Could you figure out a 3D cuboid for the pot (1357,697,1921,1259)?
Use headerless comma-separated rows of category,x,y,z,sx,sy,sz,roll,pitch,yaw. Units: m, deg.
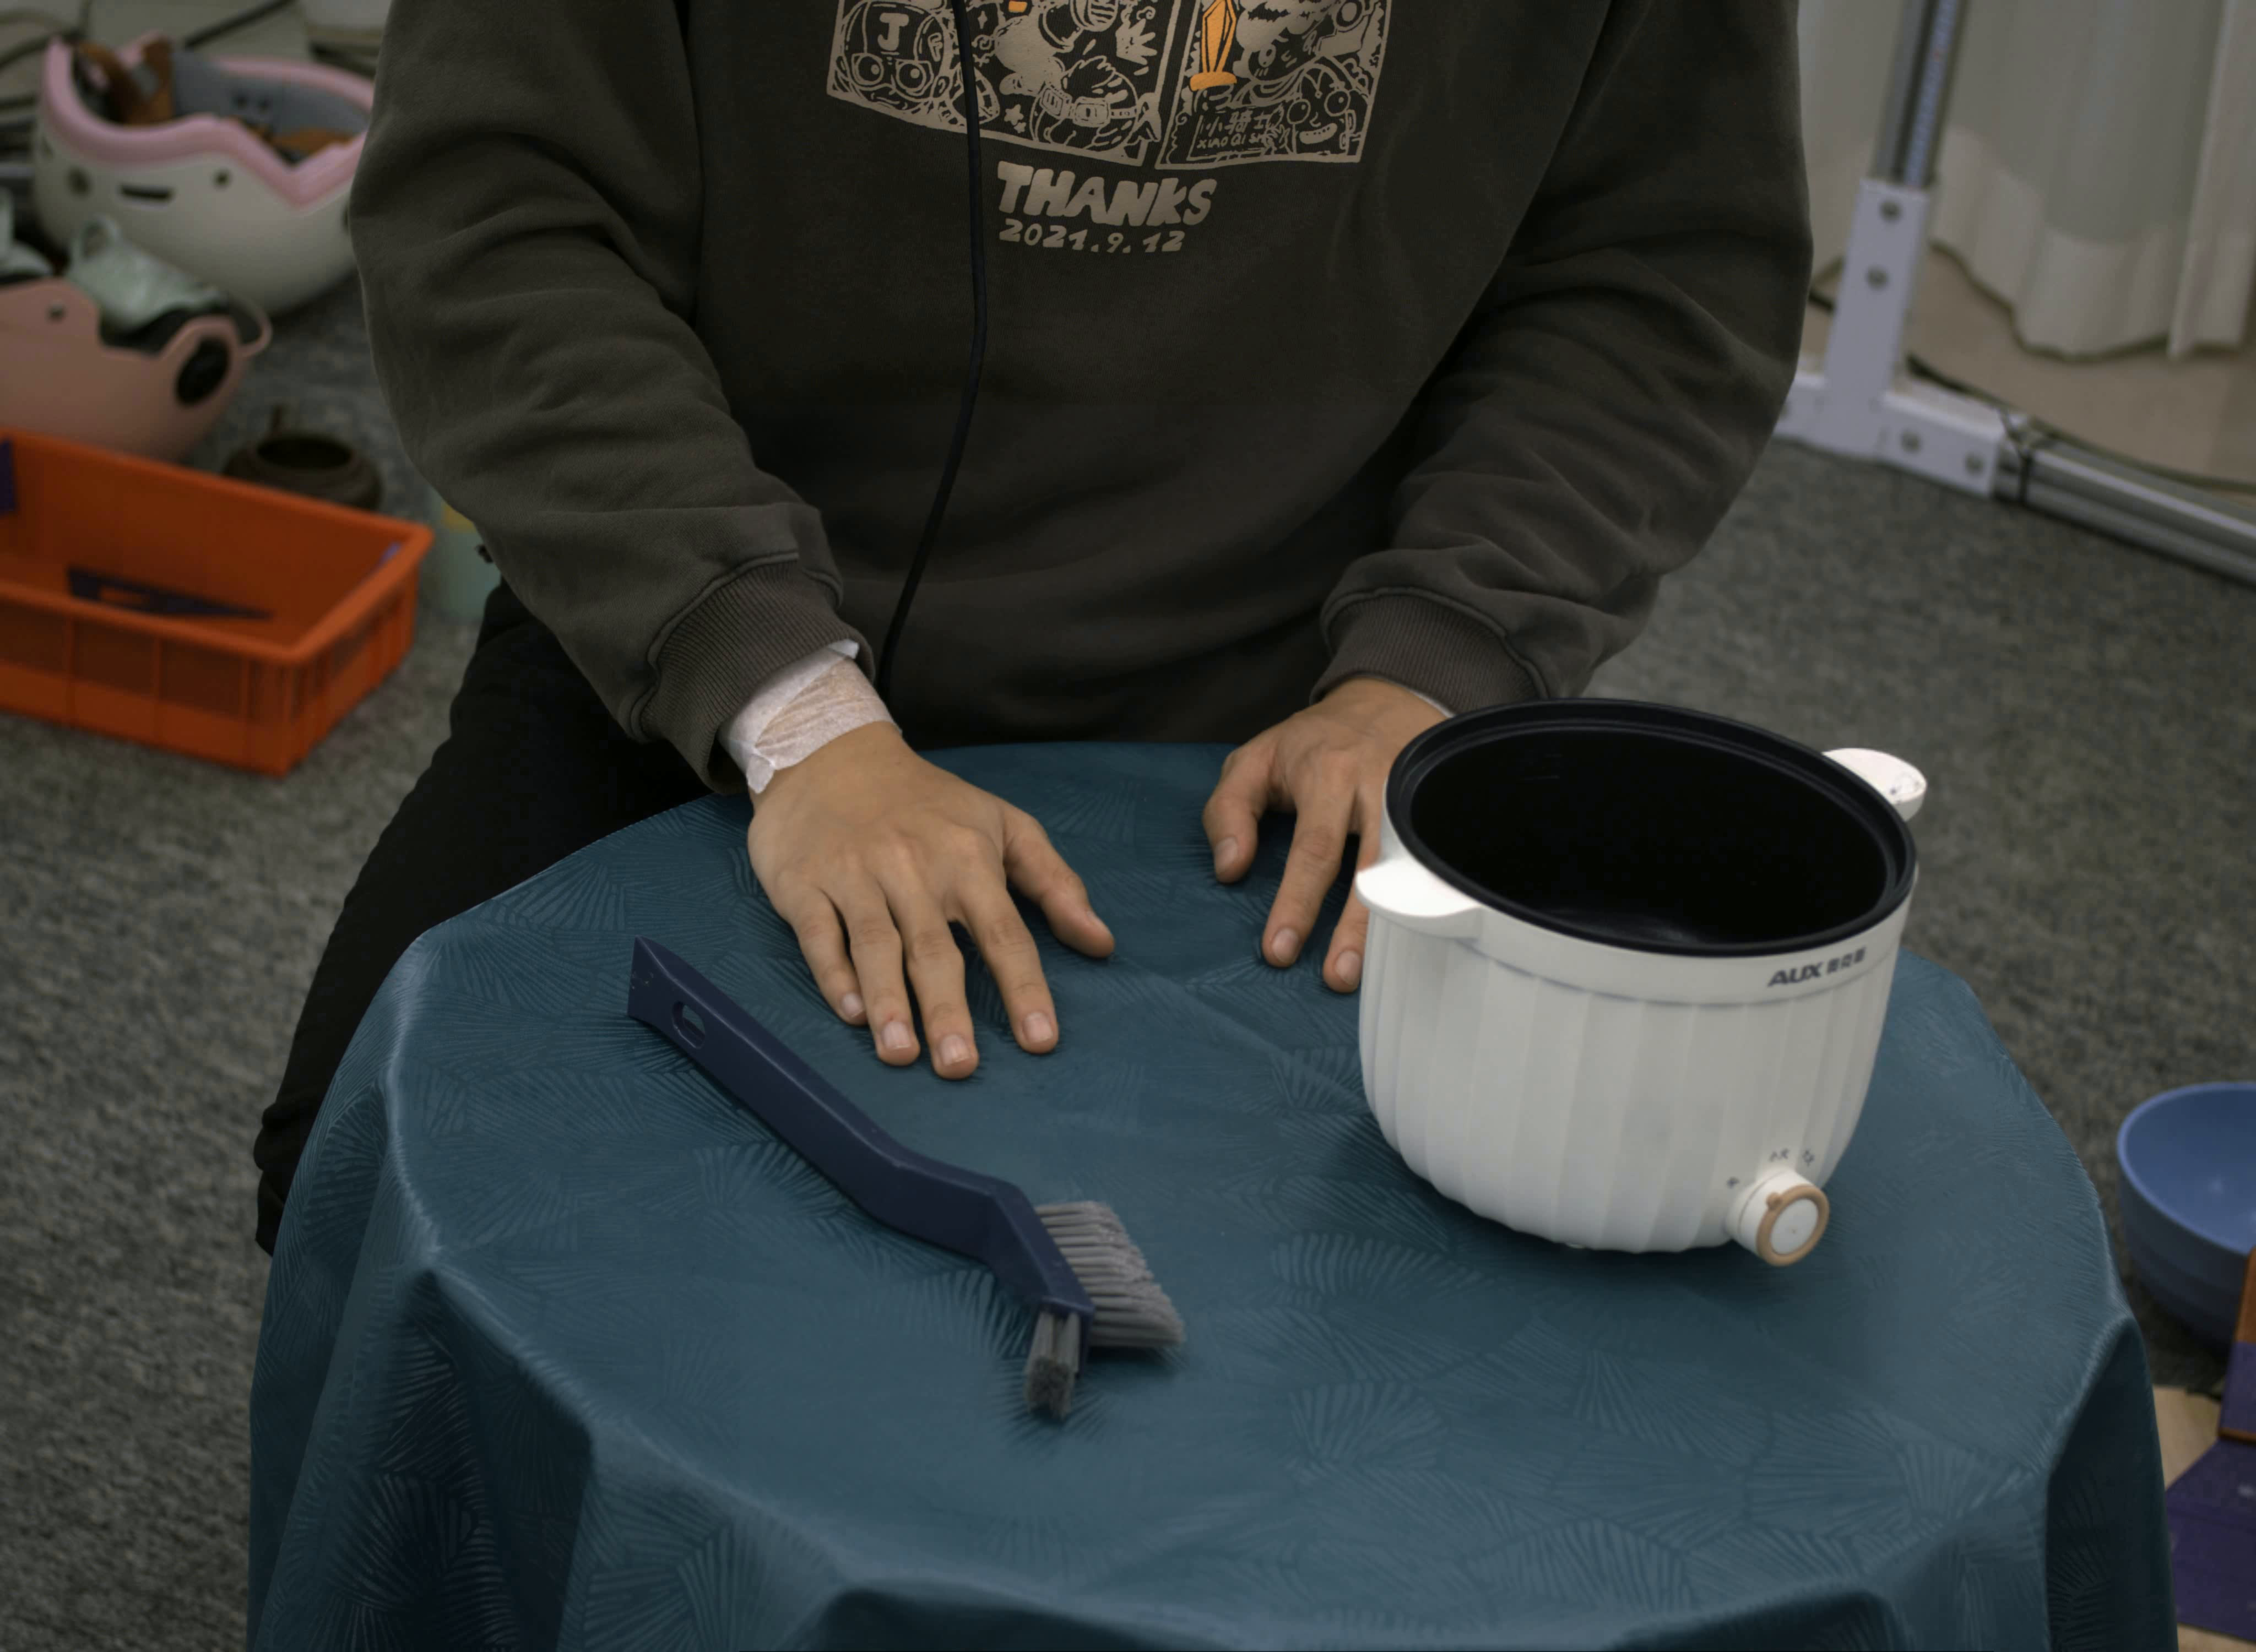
pot,0.174,0.057,1.820,0.239,0.142,0.192,-14,29,-33

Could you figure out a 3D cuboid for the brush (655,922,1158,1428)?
brush,-0.093,0.111,1.773,0.095,0.033,0.275,-19,37,-40
